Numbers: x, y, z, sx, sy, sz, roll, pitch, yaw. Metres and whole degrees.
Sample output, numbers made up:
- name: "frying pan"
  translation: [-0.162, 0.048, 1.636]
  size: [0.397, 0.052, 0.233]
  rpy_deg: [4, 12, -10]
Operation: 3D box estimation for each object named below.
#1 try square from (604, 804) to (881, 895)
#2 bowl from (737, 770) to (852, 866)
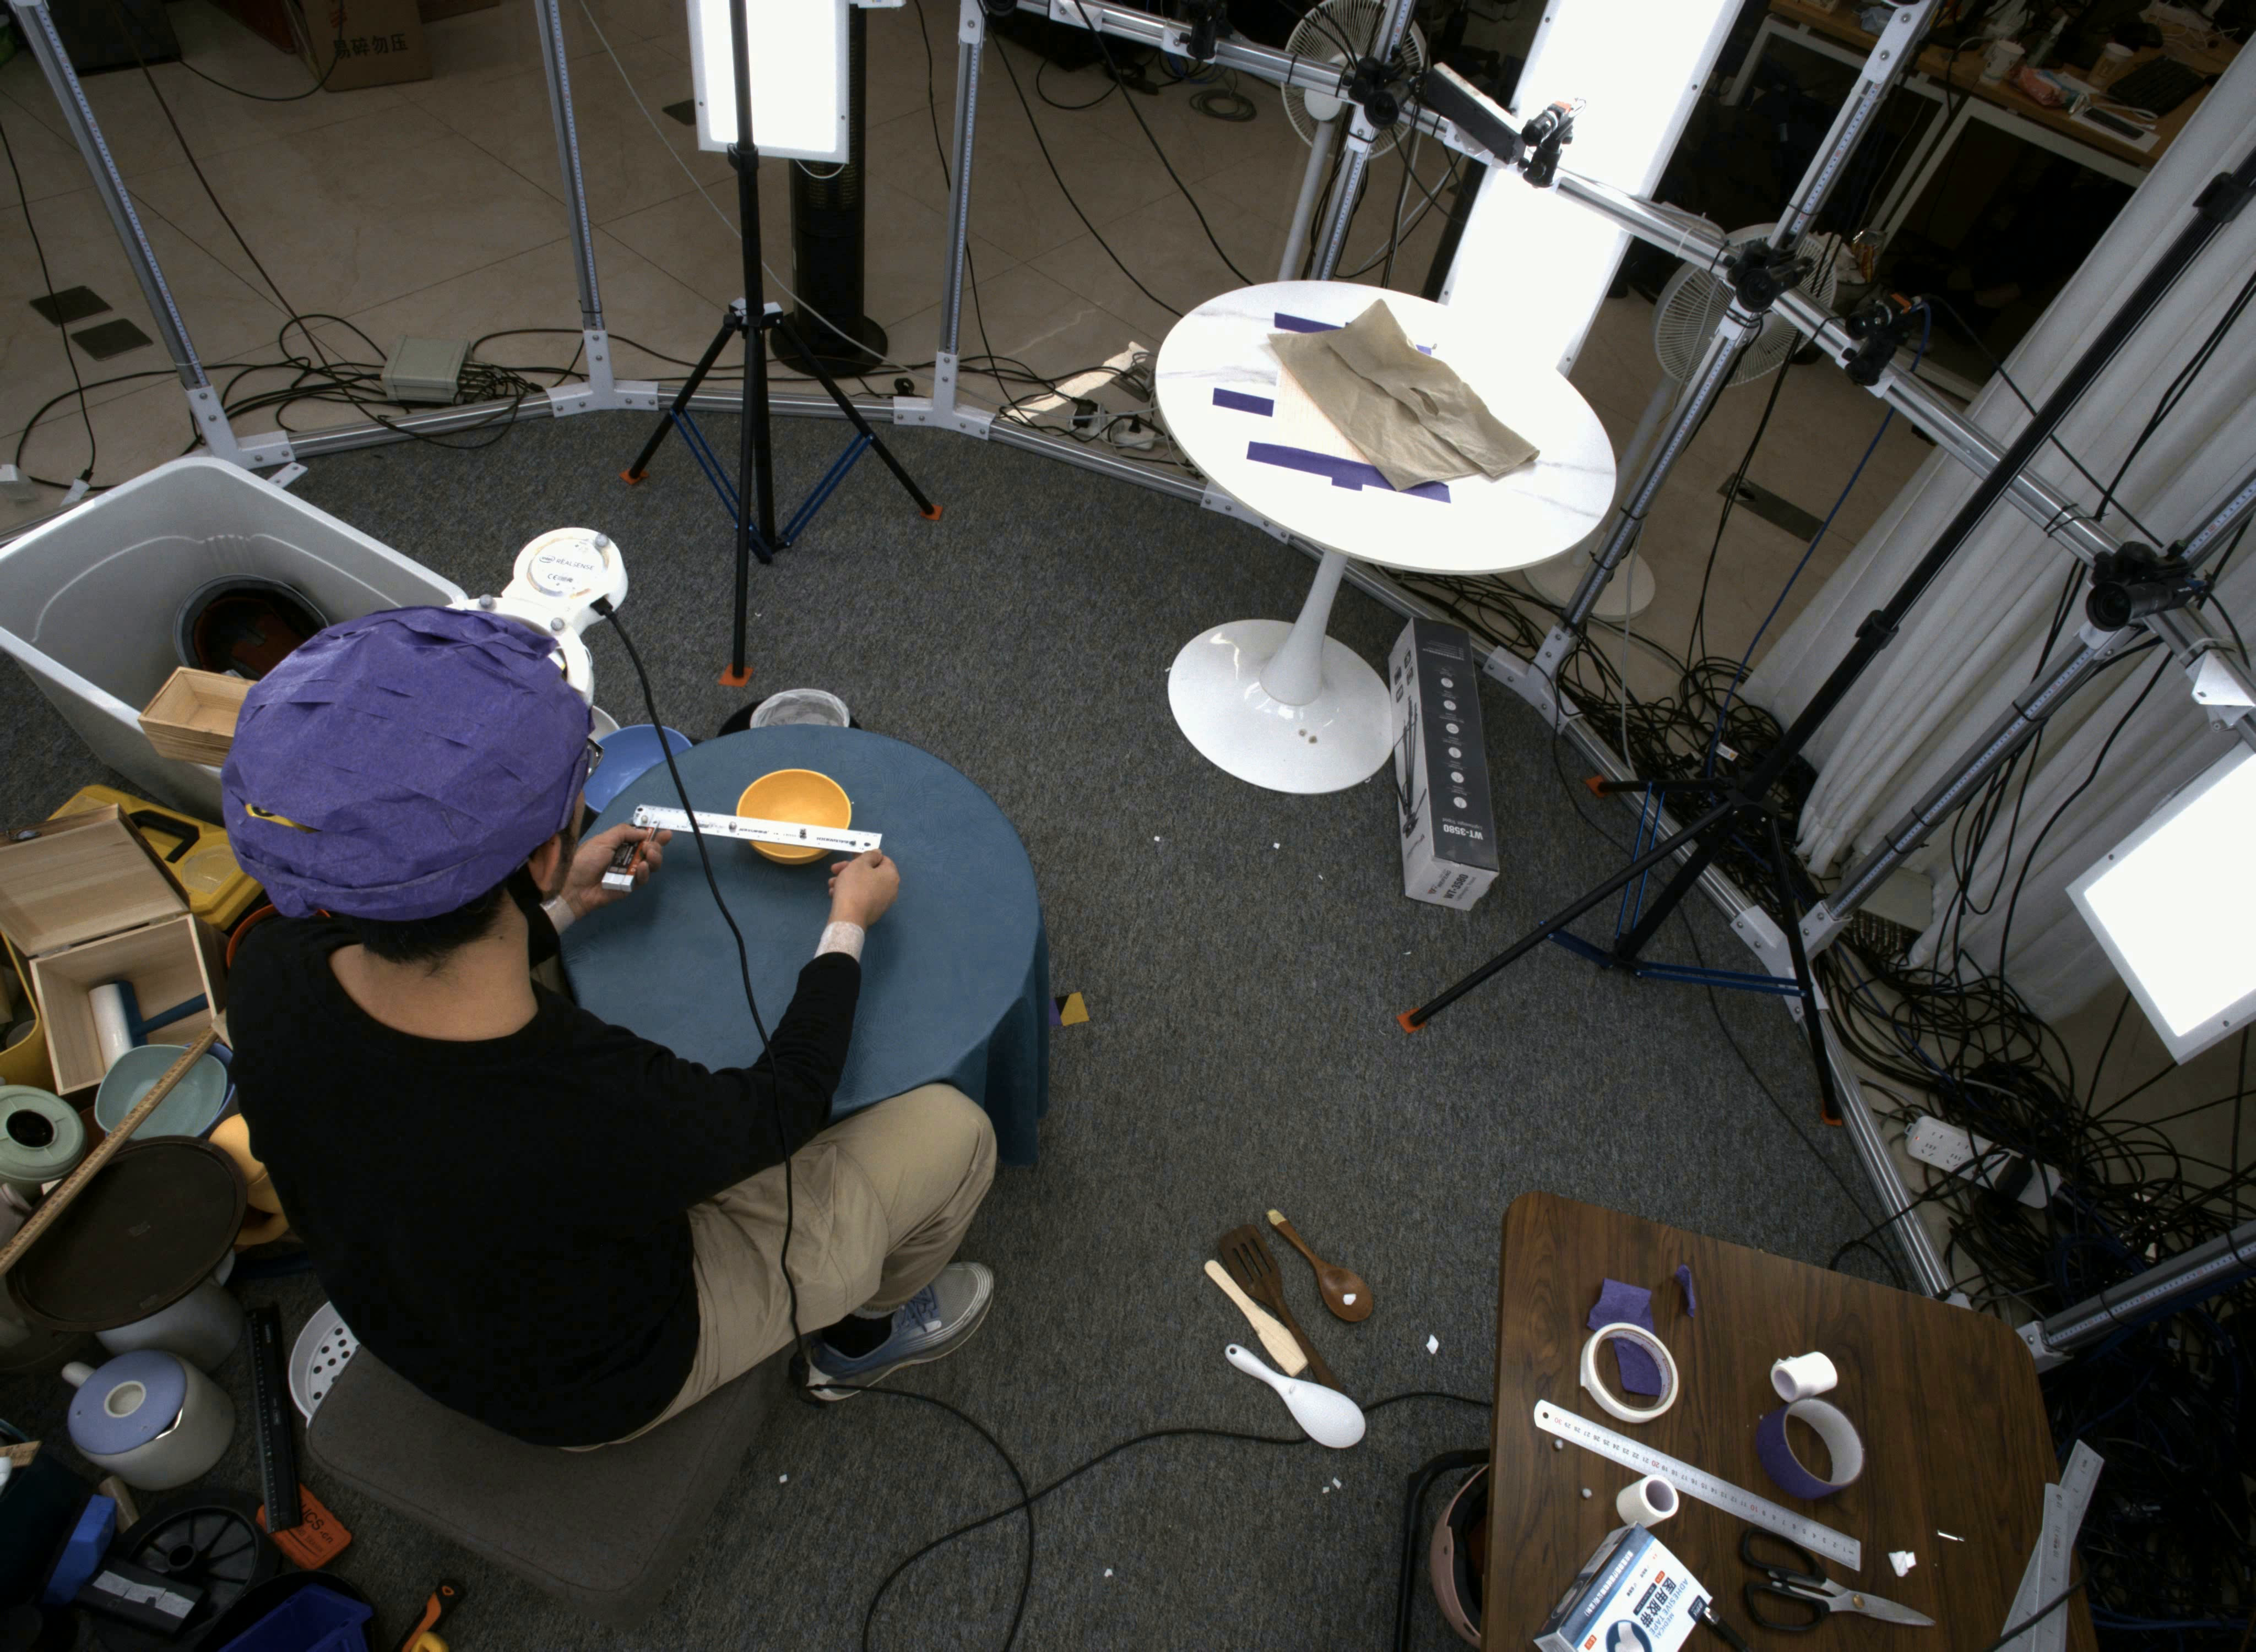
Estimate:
- name: "try square"
  translation: [-0.471, 0.039, 1.585]
  size: [0.311, 0.016, 0.149]
  rpy_deg: [7, 43, -6]
- name: "bowl"
  translation: [-0.430, 0.000, 1.681]
  size: [0.144, 0.061, 0.143]
  rpy_deg: [6, 53, -6]
